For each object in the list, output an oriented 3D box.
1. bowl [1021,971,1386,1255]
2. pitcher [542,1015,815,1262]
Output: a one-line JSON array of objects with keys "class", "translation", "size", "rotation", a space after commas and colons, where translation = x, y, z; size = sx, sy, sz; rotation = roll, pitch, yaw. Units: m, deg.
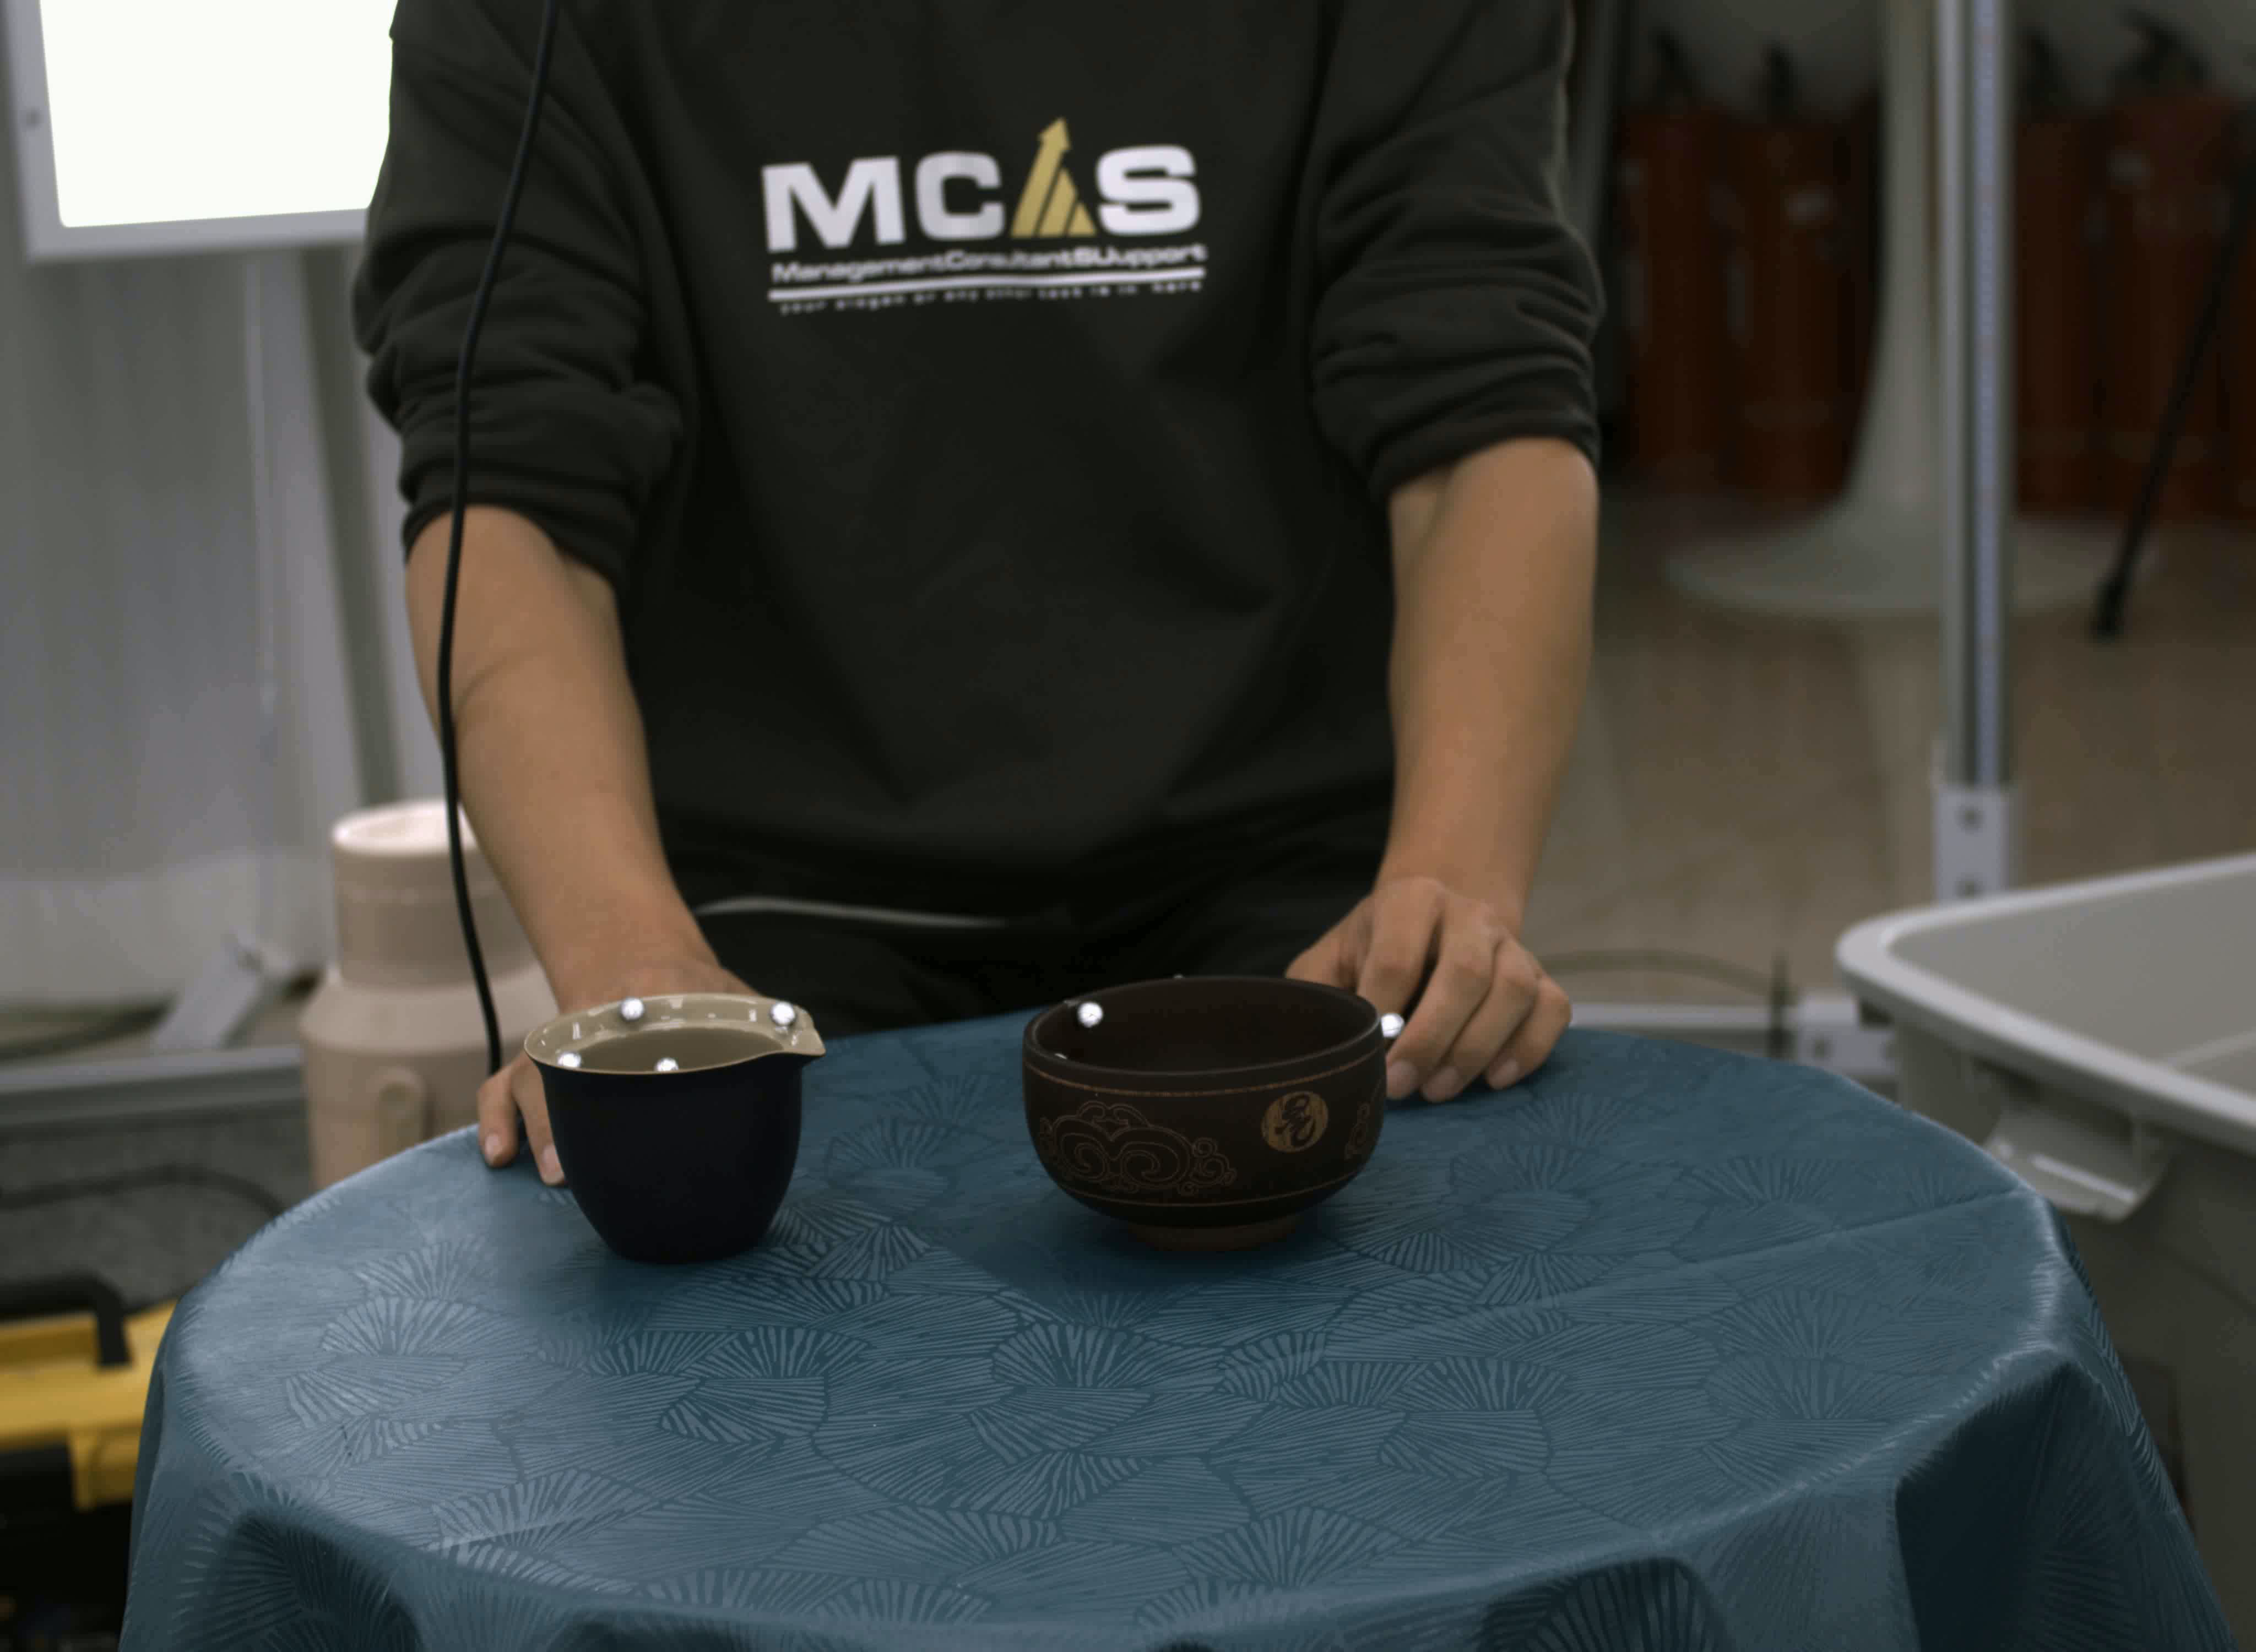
[{"class": "bowl", "translation": [0.025, 0.095, 1.726], "size": [0.116, 0.070, 0.118], "rotation": [-4, 15, 0]}, {"class": "pitcher", "translation": [-0.141, 0.100, 1.745], "size": [0.096, 0.072, 0.082], "rotation": [3, 13, 30]}]
